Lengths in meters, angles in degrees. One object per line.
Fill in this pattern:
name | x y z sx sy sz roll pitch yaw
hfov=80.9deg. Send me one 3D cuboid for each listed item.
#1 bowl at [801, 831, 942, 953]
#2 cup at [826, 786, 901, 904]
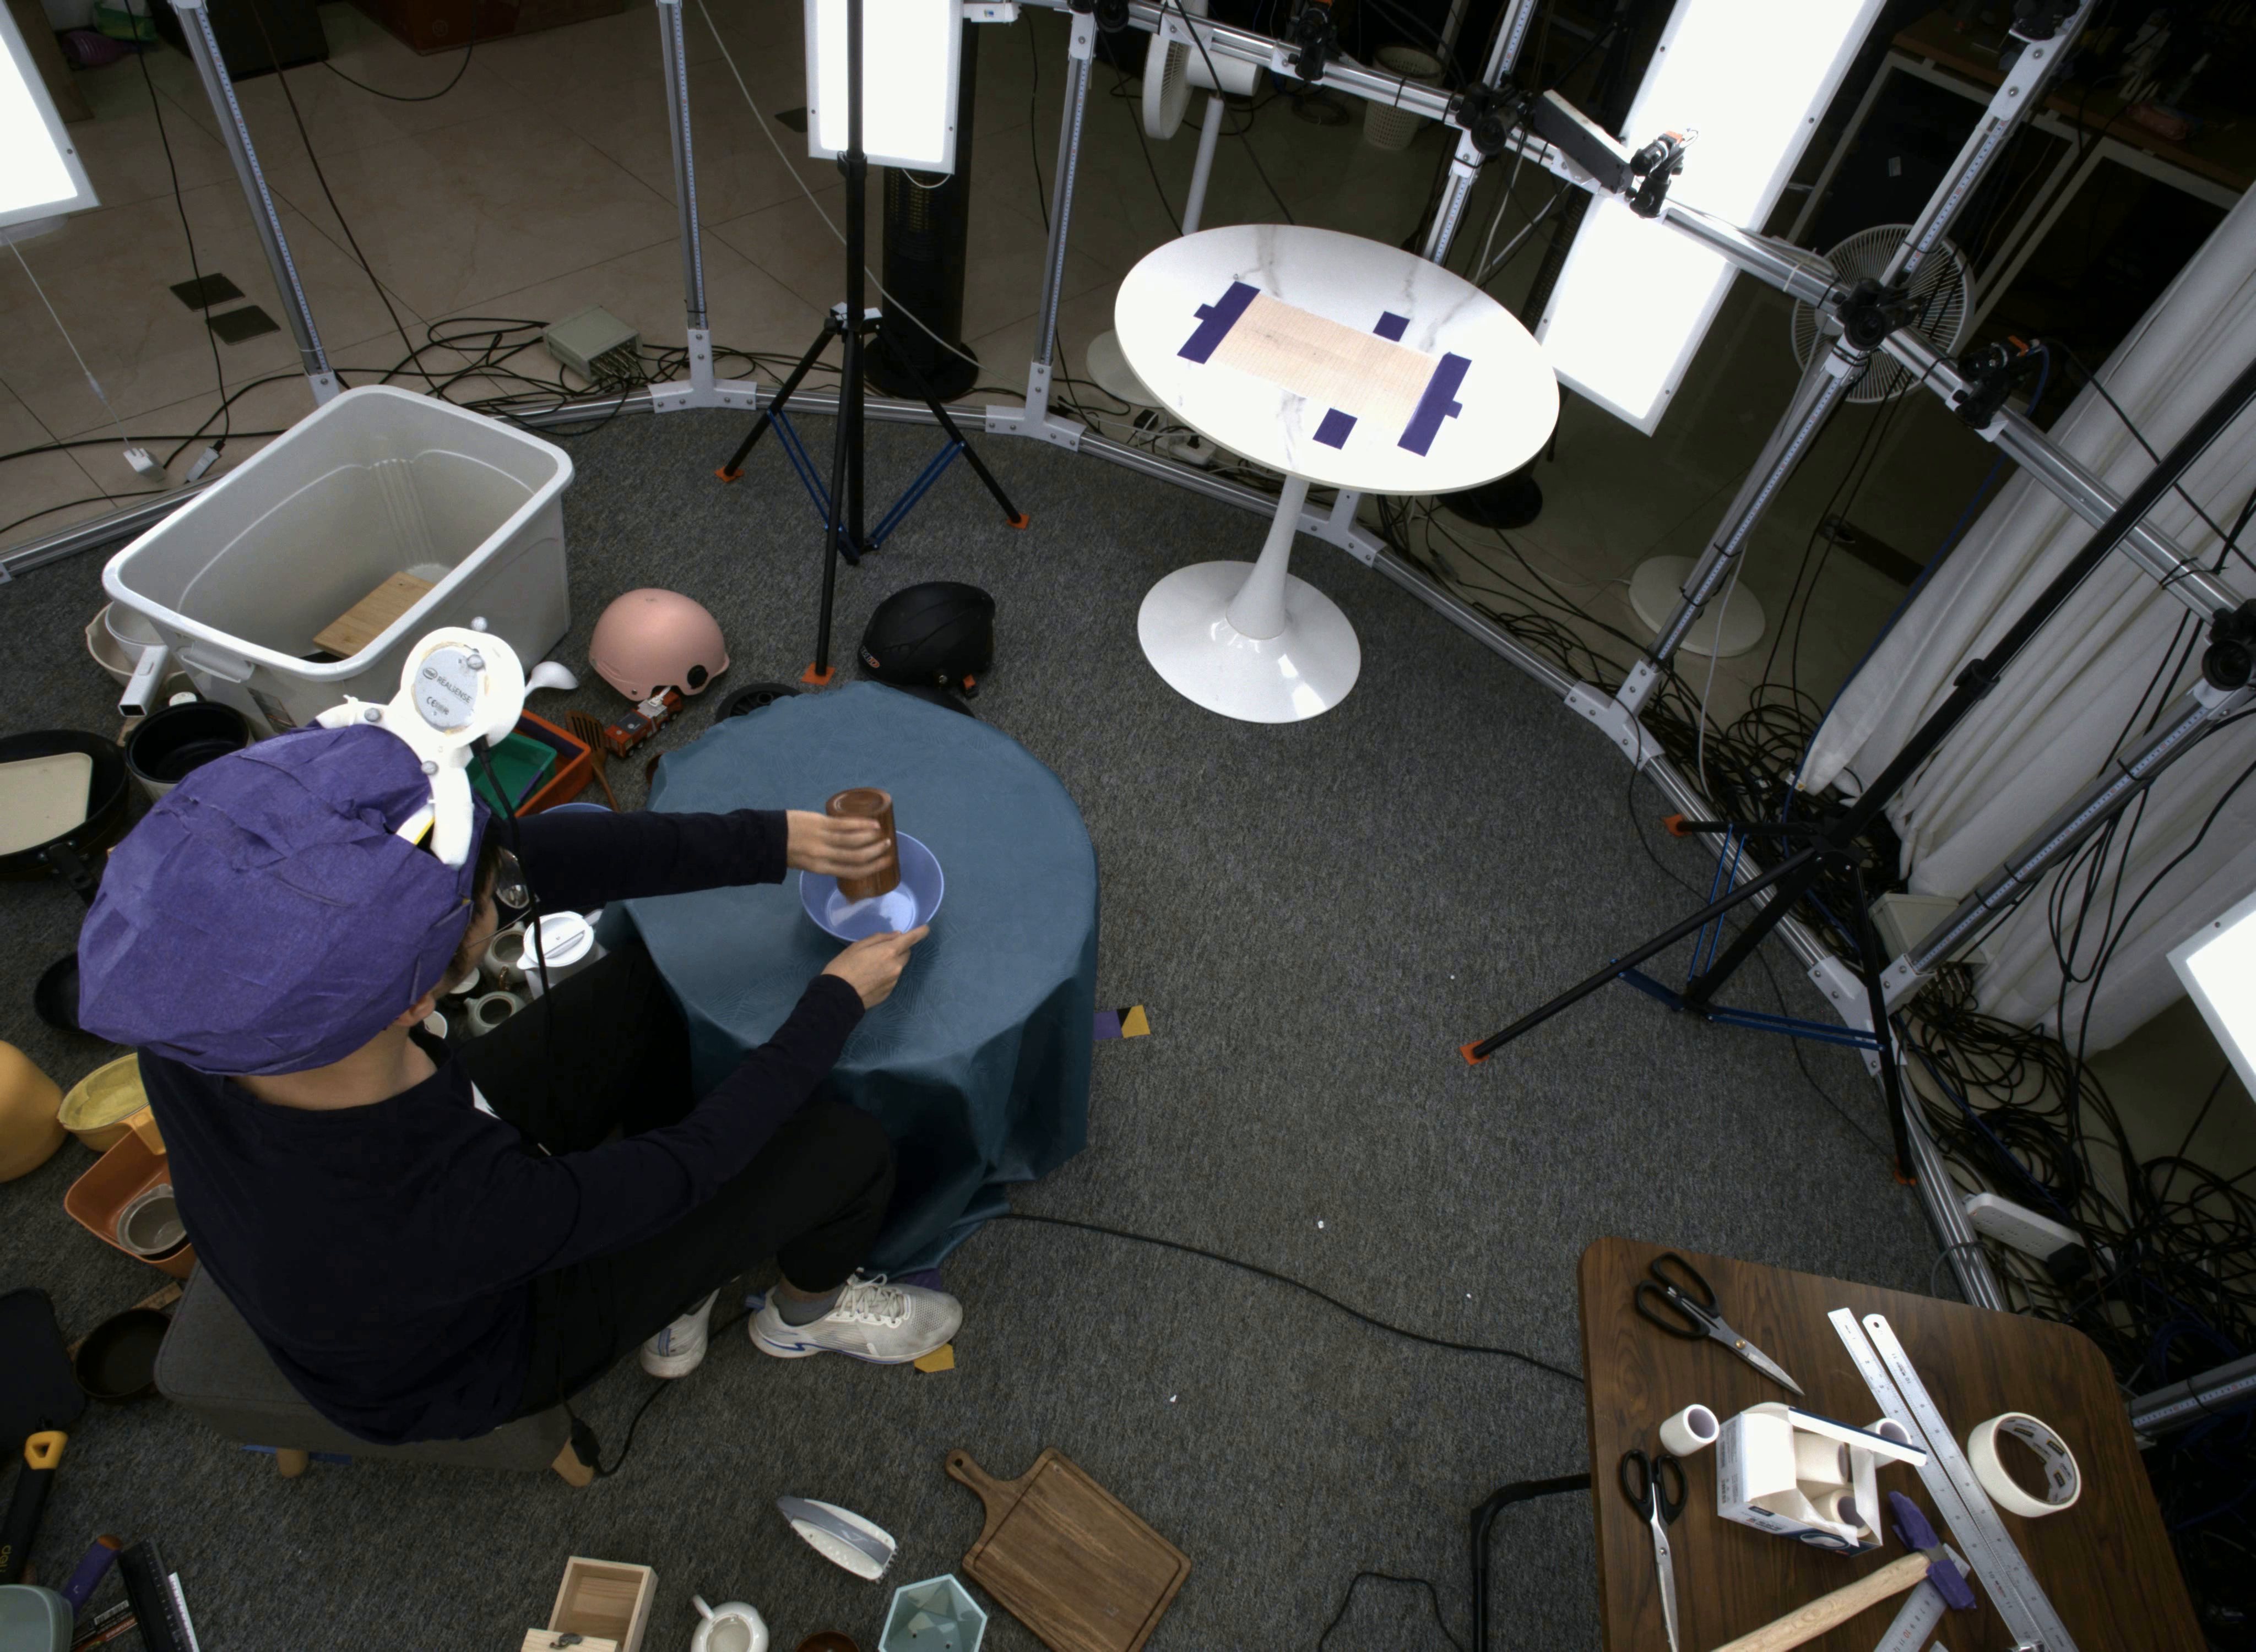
bowl | -0.322 0.091 1.638 0.175 0.072 0.173 7 53 -7
cup | -0.320 0.021 1.578 0.087 0.122 0.086 2 31 0
